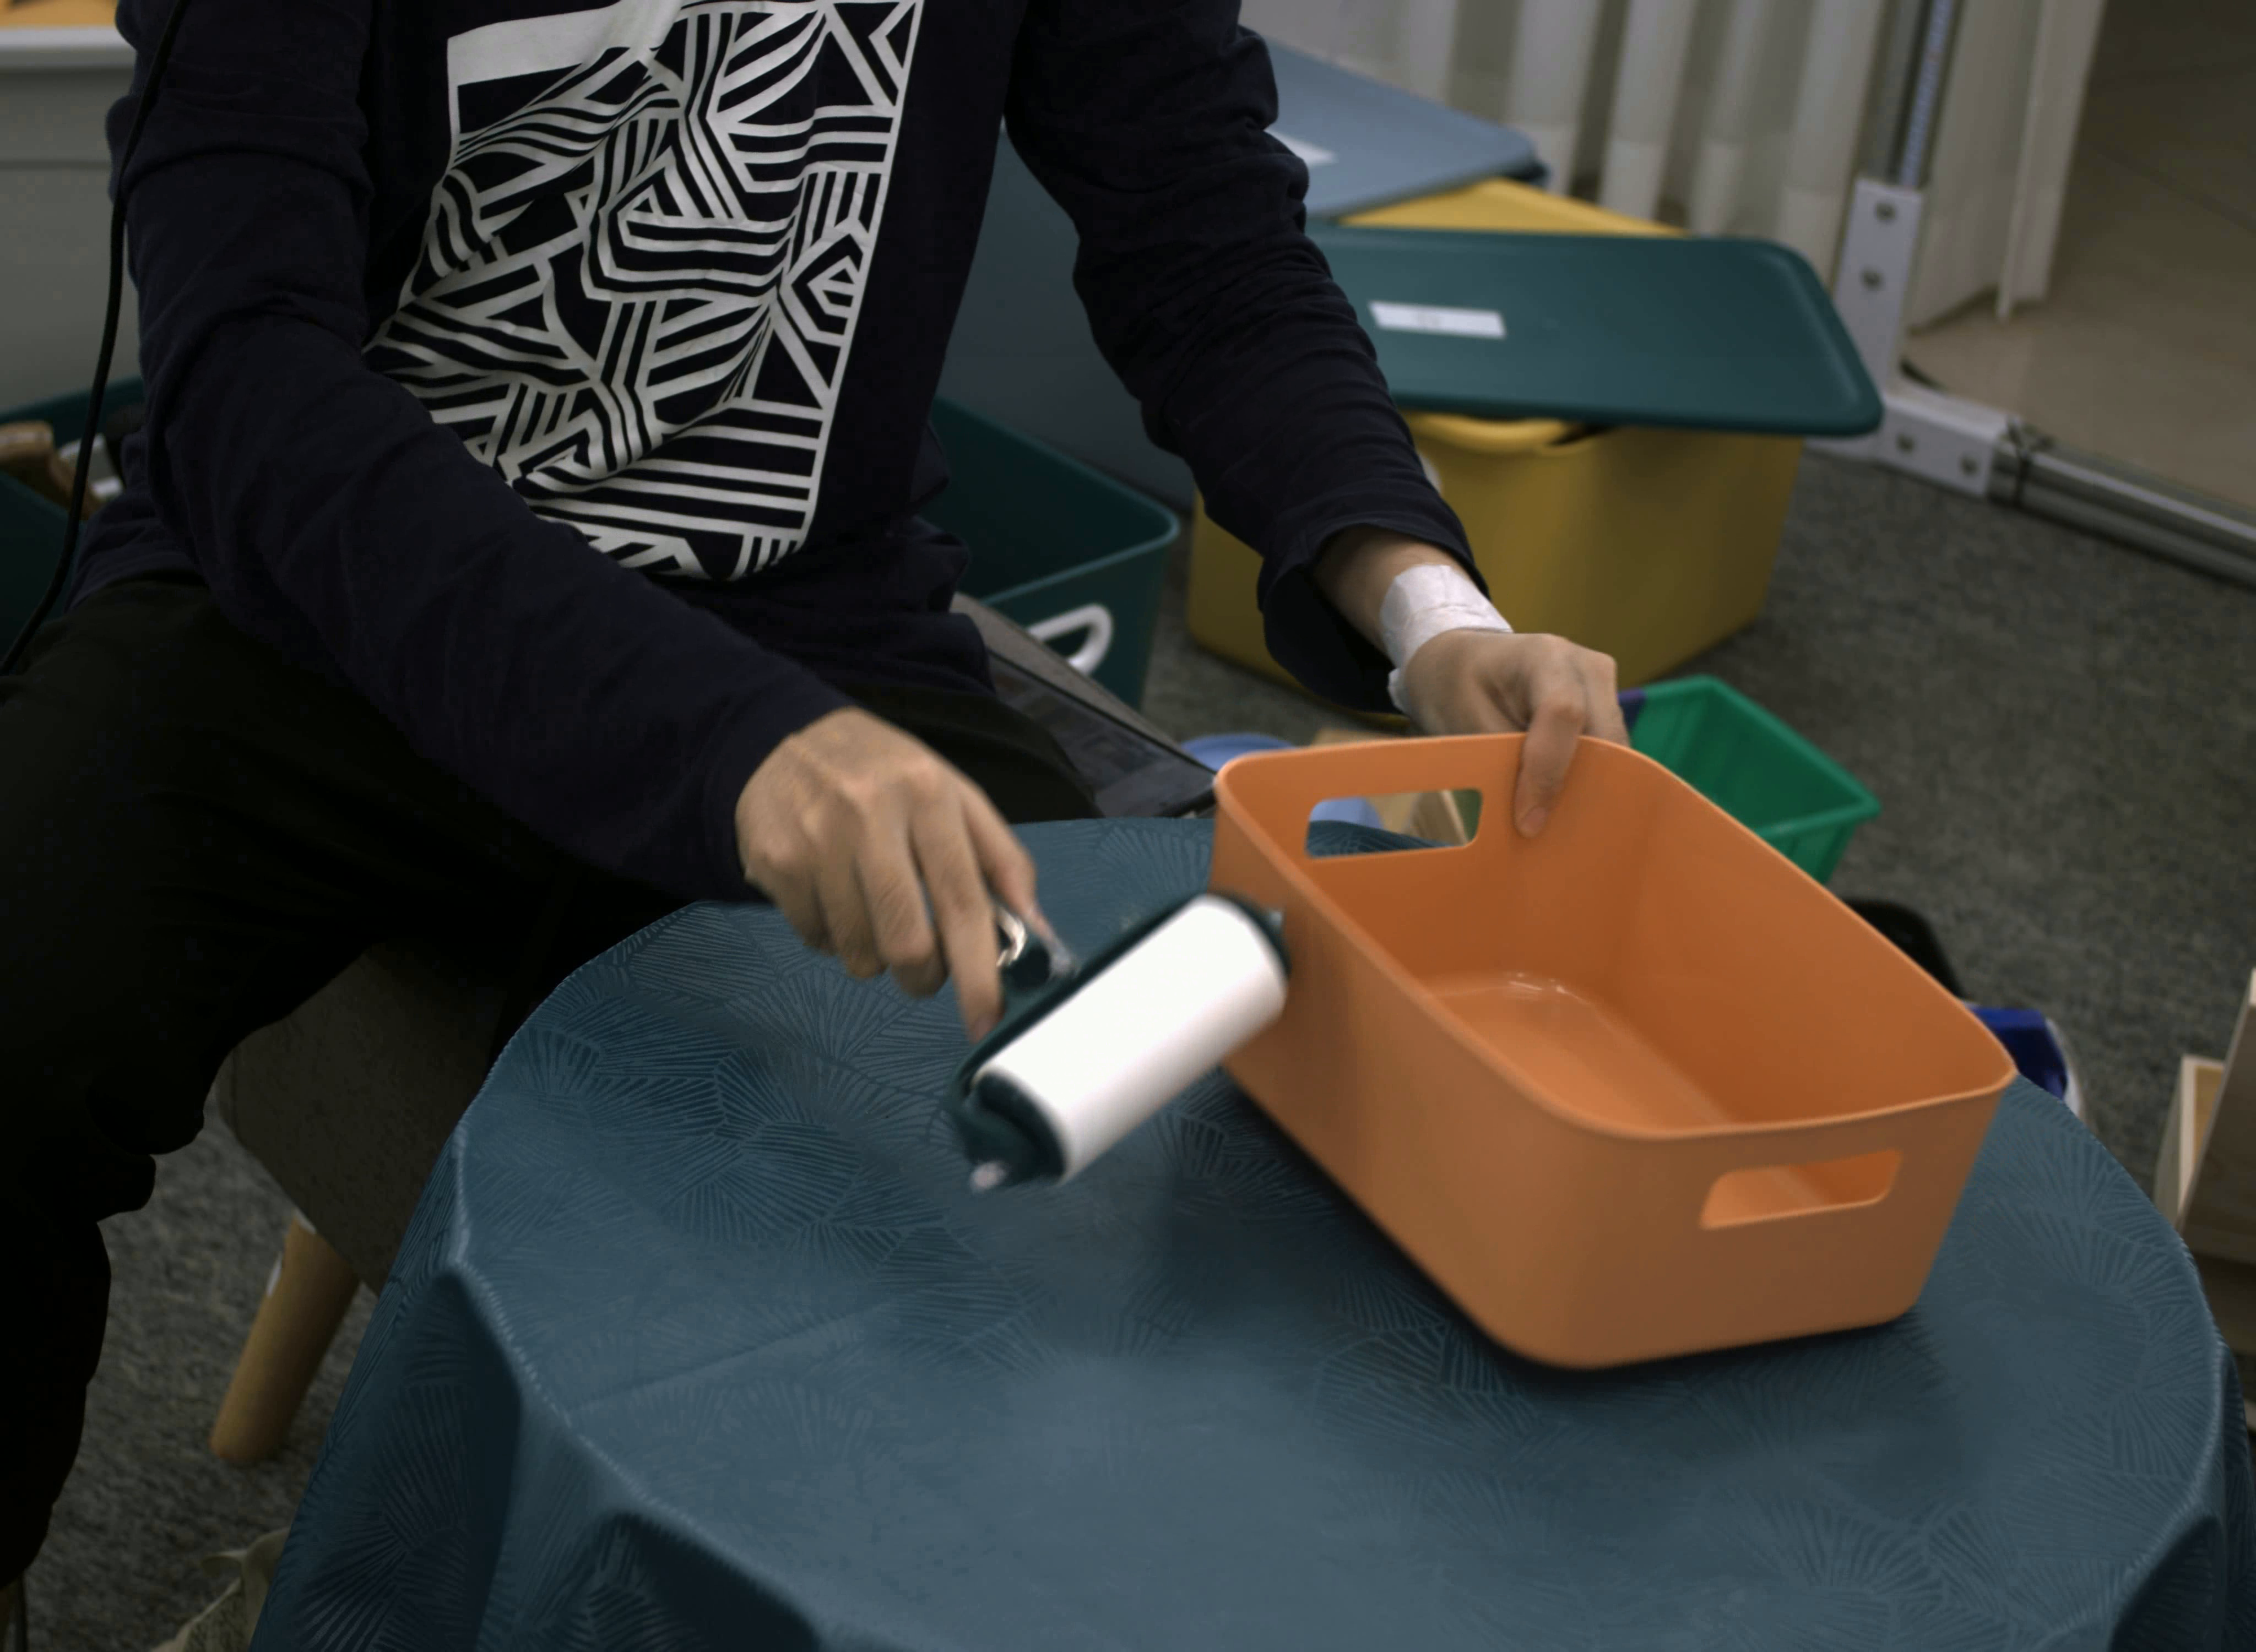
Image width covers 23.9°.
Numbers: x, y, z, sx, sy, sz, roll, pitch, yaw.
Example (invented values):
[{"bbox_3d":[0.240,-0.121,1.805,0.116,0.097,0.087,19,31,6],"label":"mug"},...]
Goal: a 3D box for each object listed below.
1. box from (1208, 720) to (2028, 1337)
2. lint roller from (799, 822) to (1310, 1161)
[{"bbox_3d":[0.153,0.068,1.811,0.198,0.102,0.276,-2,27,-32],"label":"box"},{"bbox_3d":[-0.045,0.031,1.780,0.181,0.048,0.134,33,57,30],"label":"lint roller"}]
